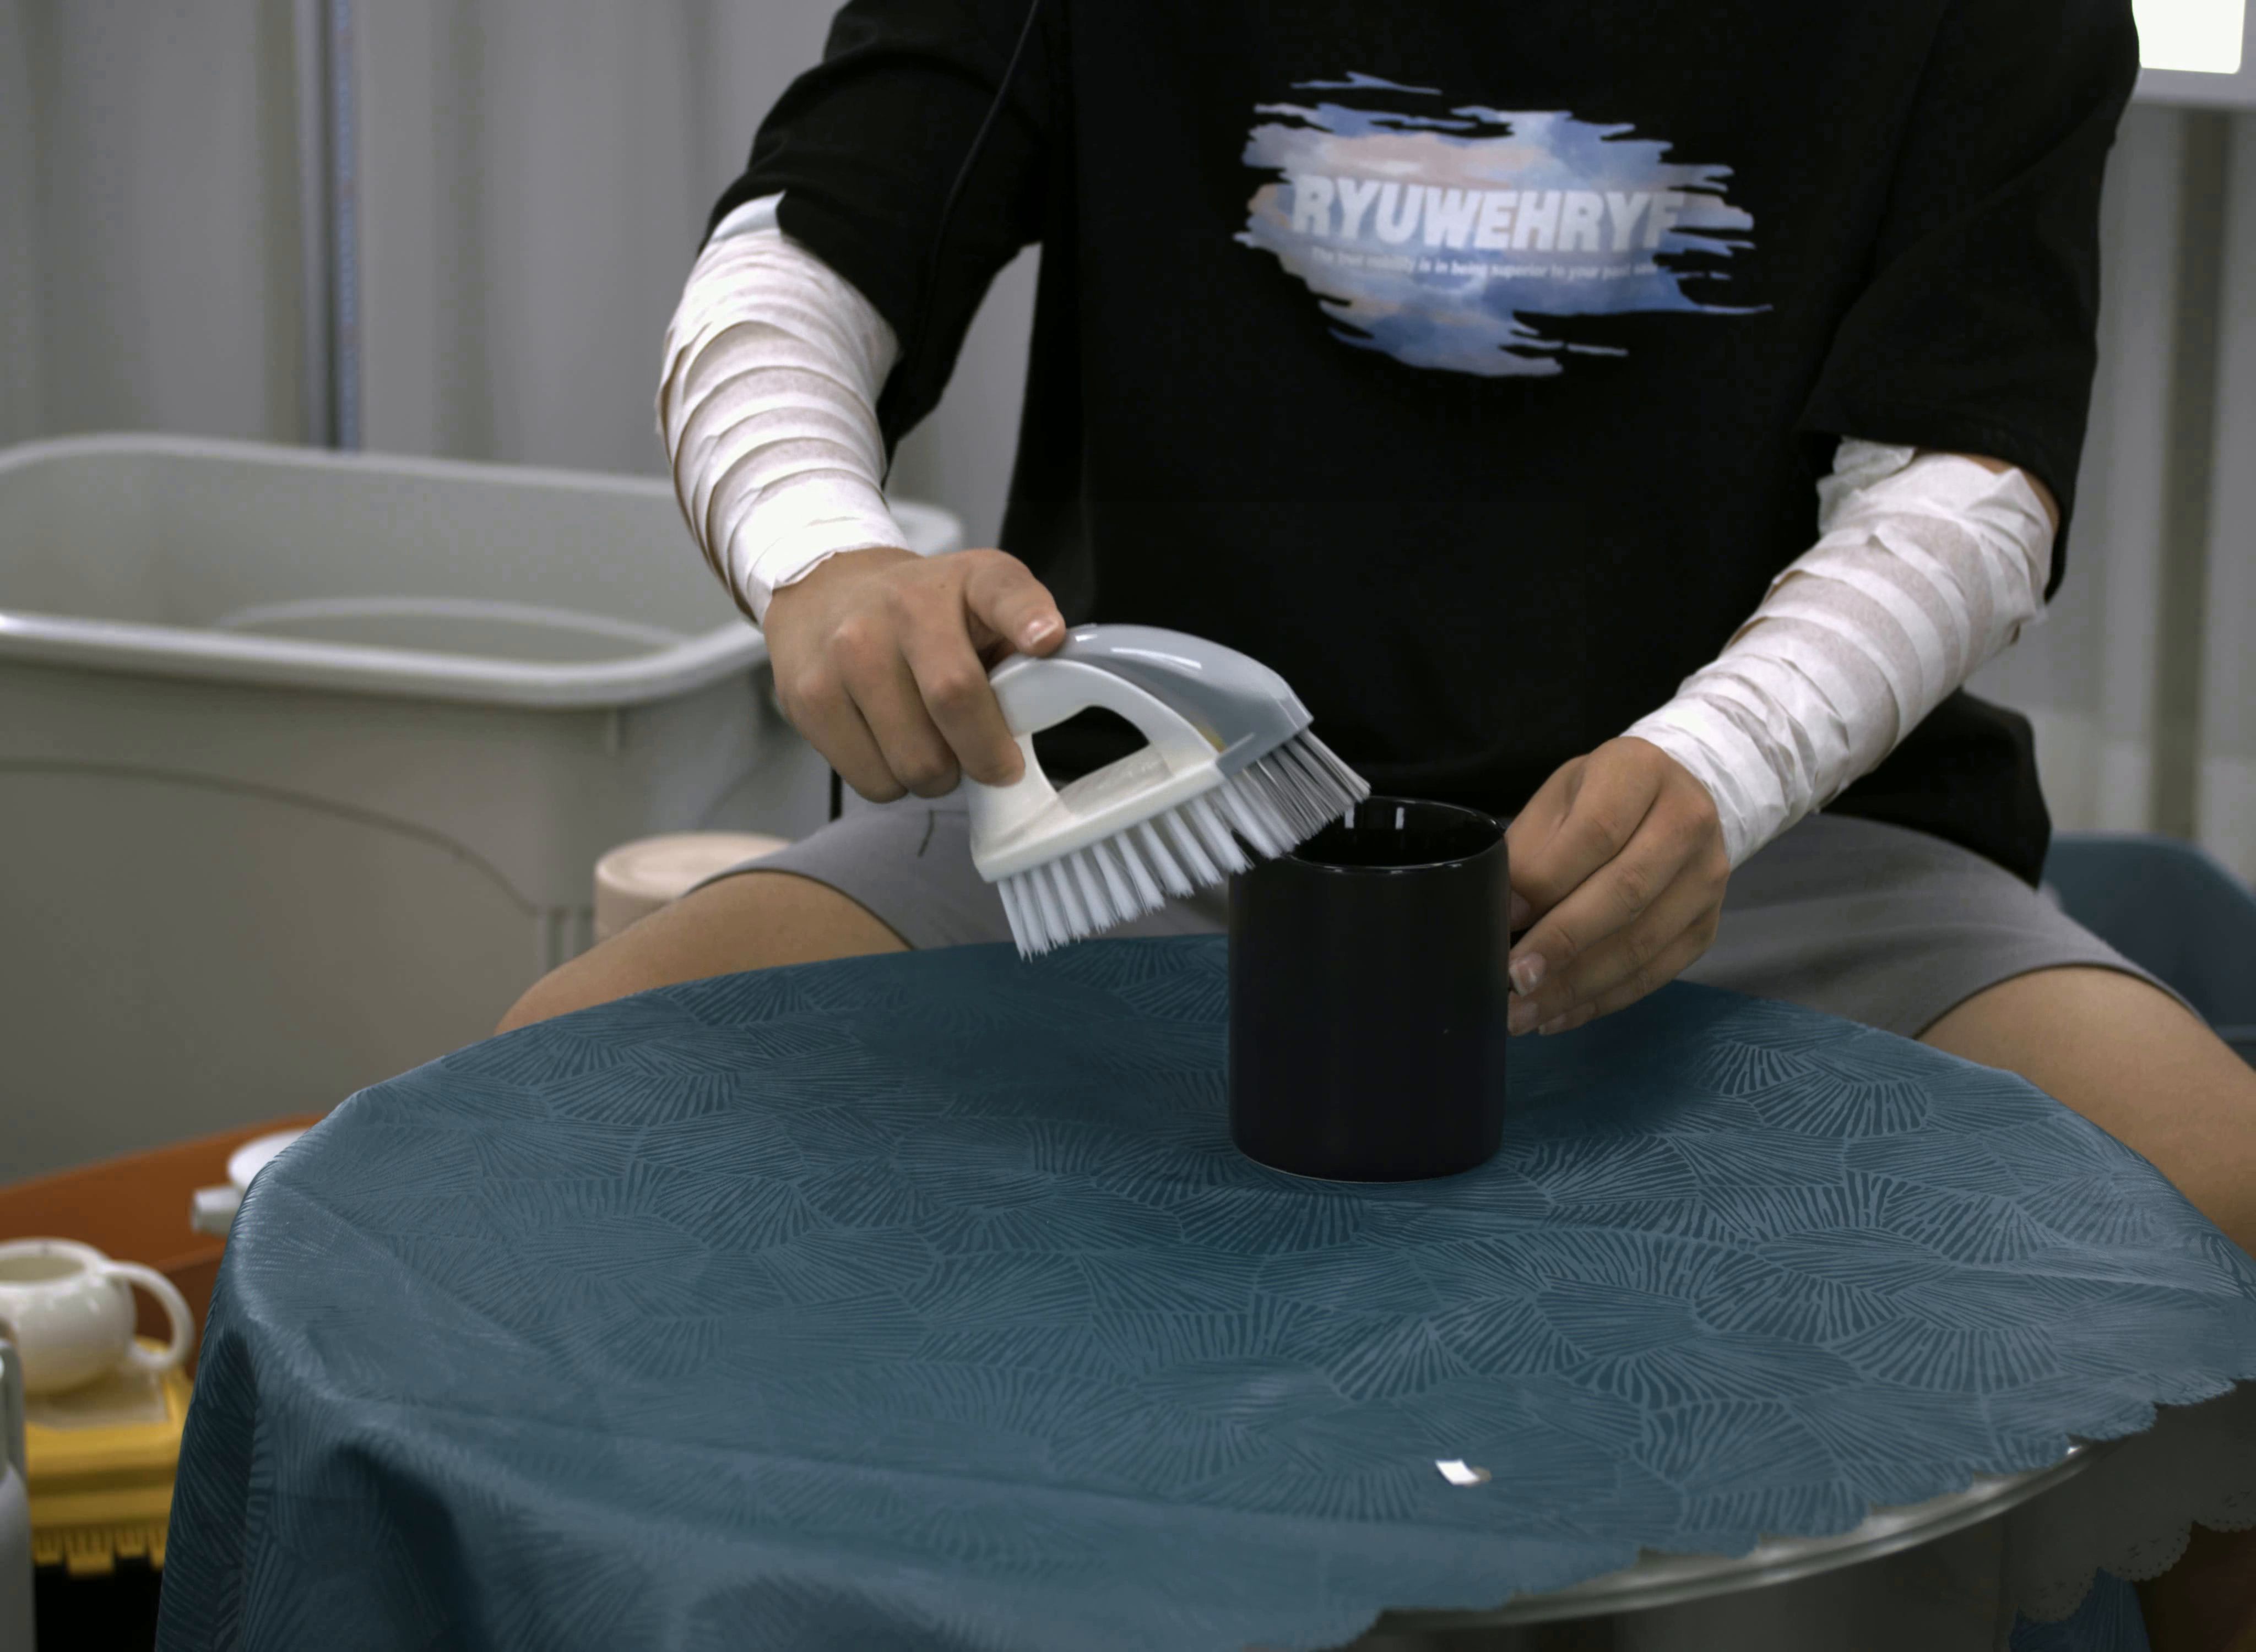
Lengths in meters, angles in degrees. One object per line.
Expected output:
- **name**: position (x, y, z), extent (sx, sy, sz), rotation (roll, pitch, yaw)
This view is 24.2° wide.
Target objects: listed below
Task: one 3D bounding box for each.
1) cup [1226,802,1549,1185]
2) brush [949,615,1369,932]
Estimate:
- **cup**: position (0.089, 0.049, 1.669), extent (0.087, 0.106, 0.124), rotation (9, 16, 44)
- **brush**: position (0.003, -0.027, 1.662), extent (0.061, 0.095, 0.174), rotation (-42, 14, -32)
